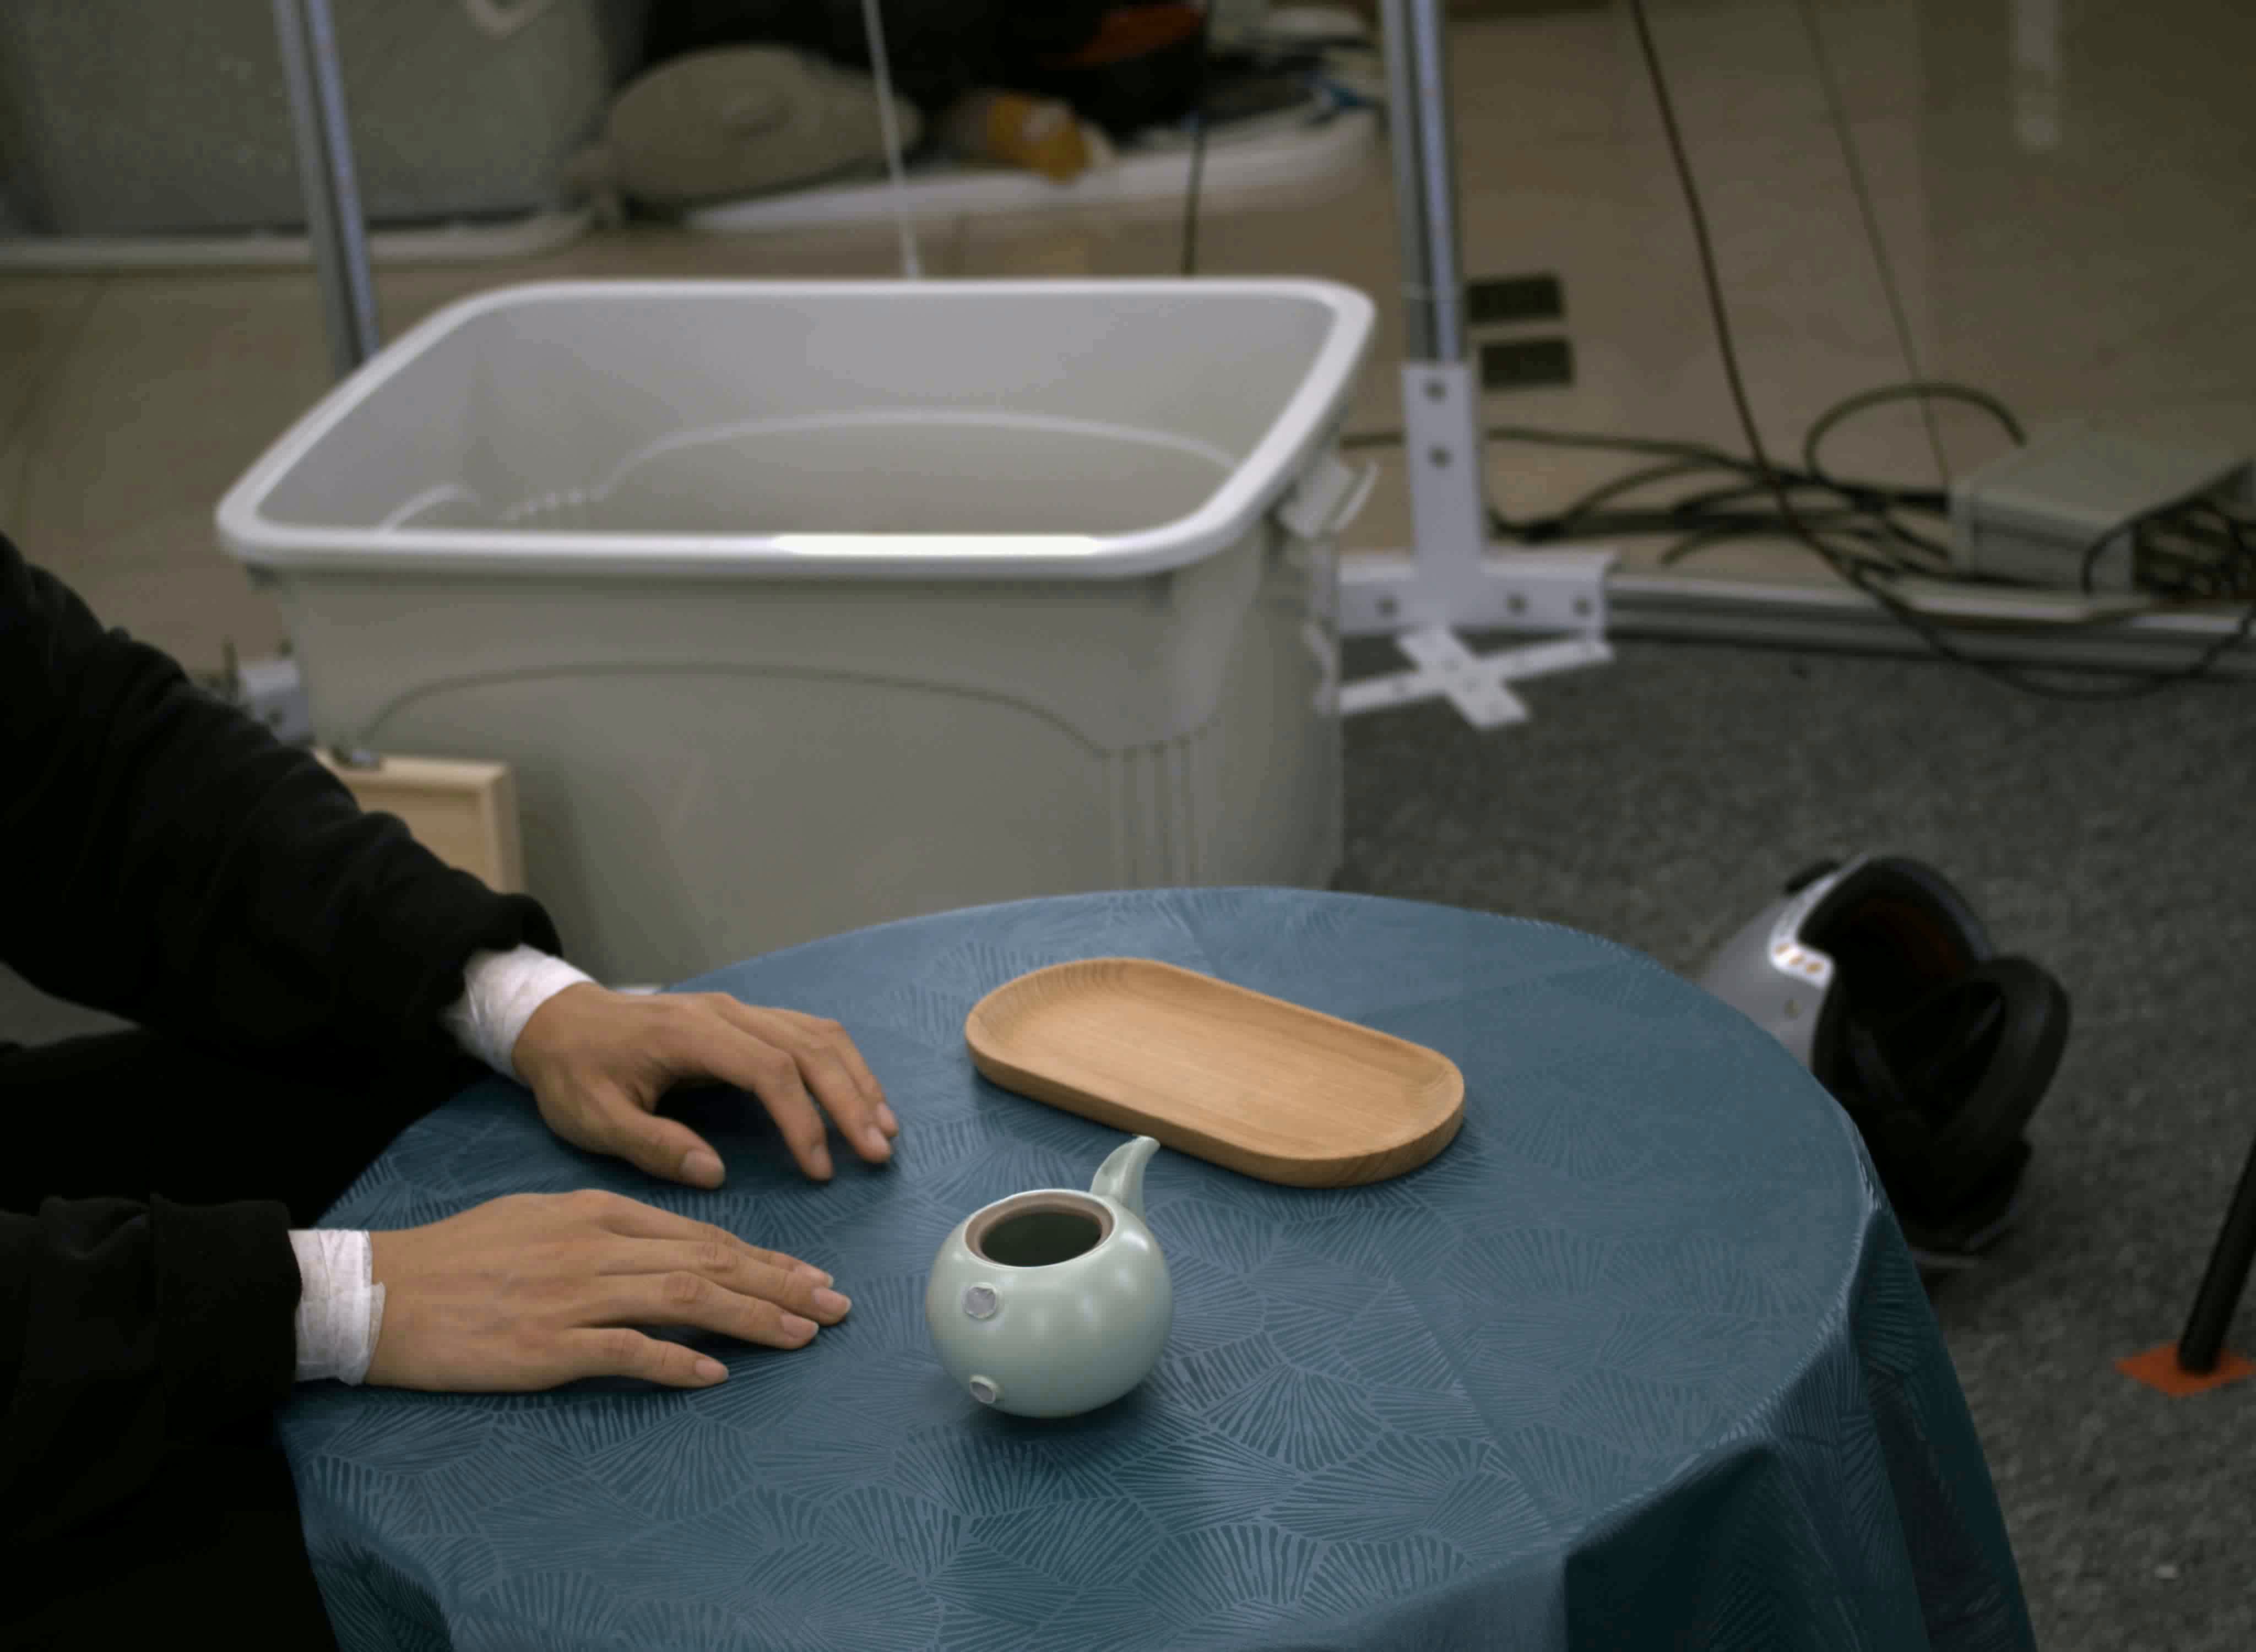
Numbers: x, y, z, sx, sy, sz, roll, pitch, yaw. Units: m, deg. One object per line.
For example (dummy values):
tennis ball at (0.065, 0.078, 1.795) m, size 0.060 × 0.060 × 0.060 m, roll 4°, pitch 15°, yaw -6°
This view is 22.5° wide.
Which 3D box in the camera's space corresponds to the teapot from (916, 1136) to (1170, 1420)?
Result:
teapot at (-0.029, 0.168, 2.007) m, size 0.088 × 0.076 × 0.142 m, roll 12°, pitch 29°, yaw 34°

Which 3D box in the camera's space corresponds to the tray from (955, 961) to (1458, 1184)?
tray at (0.029, 0.096, 2.218) m, size 0.229 × 0.020 × 0.101 m, roll 15°, pitch 31°, yaw 41°
